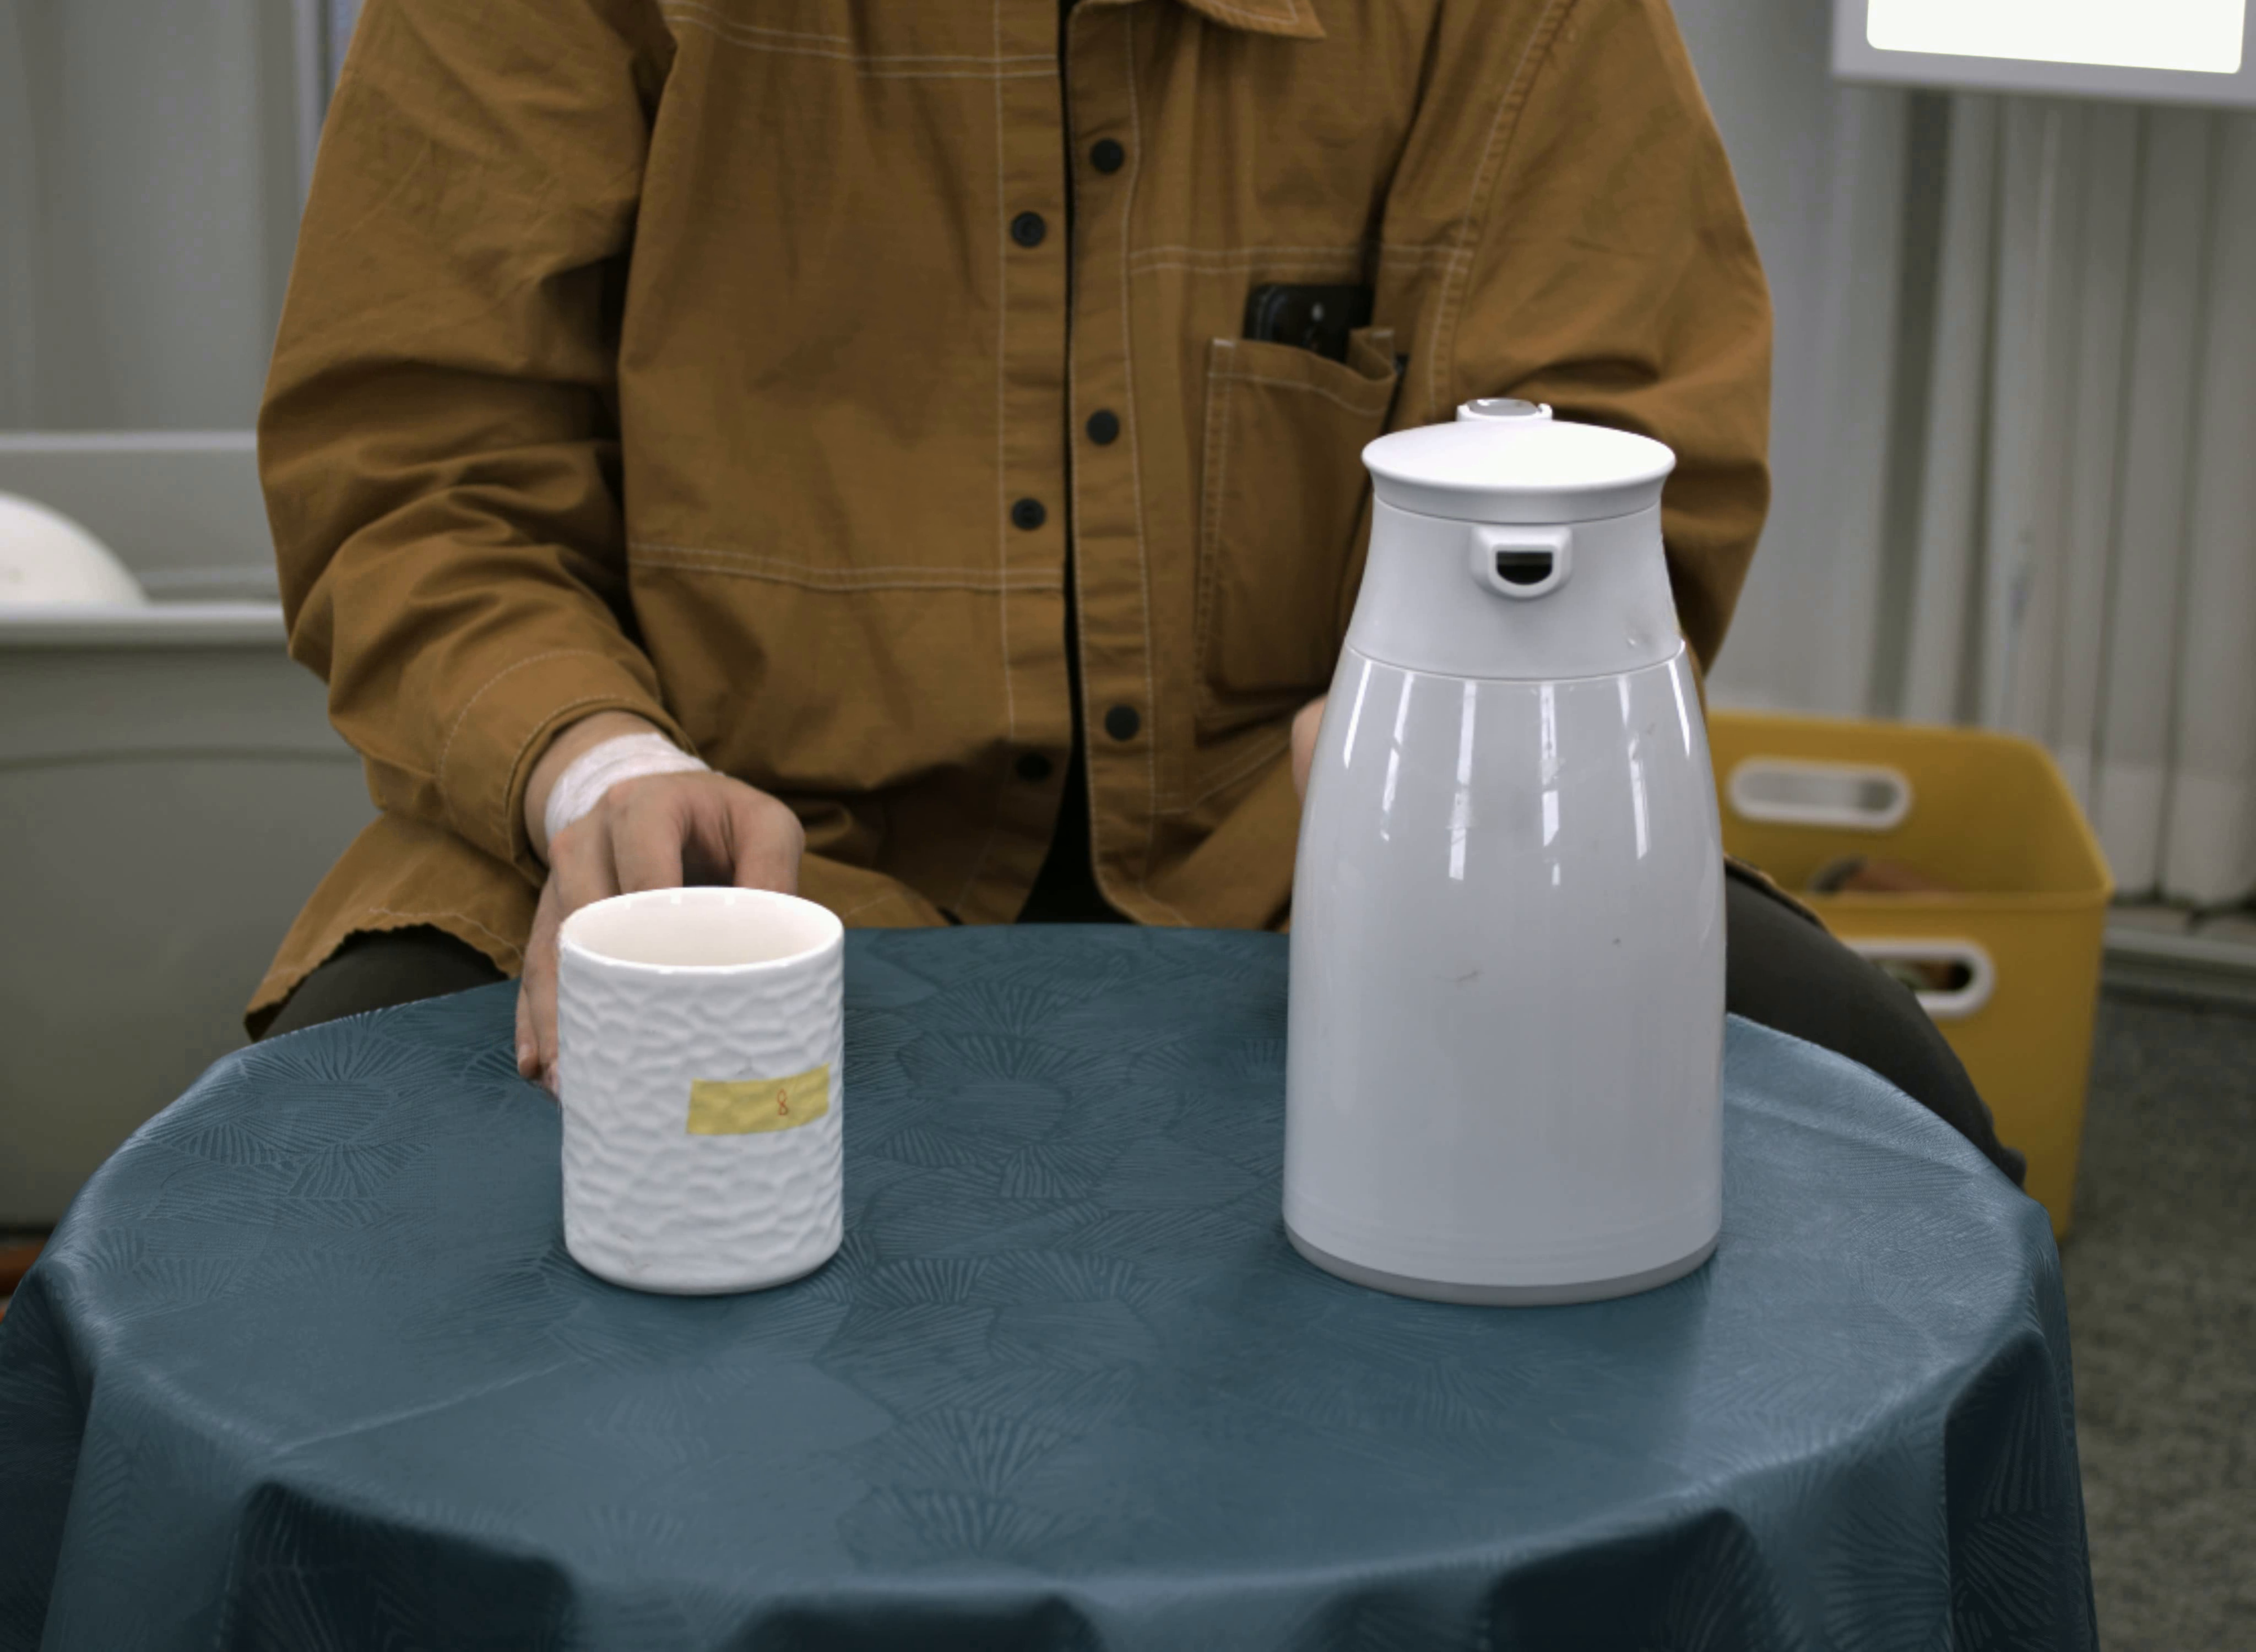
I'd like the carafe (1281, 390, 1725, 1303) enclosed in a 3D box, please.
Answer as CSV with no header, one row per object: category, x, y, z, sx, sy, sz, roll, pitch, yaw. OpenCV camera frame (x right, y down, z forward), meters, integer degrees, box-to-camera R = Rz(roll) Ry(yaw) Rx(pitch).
carafe,0.111,-0.002,1.573,0.132,0.250,0.167,-1,16,0

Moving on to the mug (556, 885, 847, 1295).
mug,-0.129,0.074,1.567,0.085,0.103,0.117,-2,16,-12
